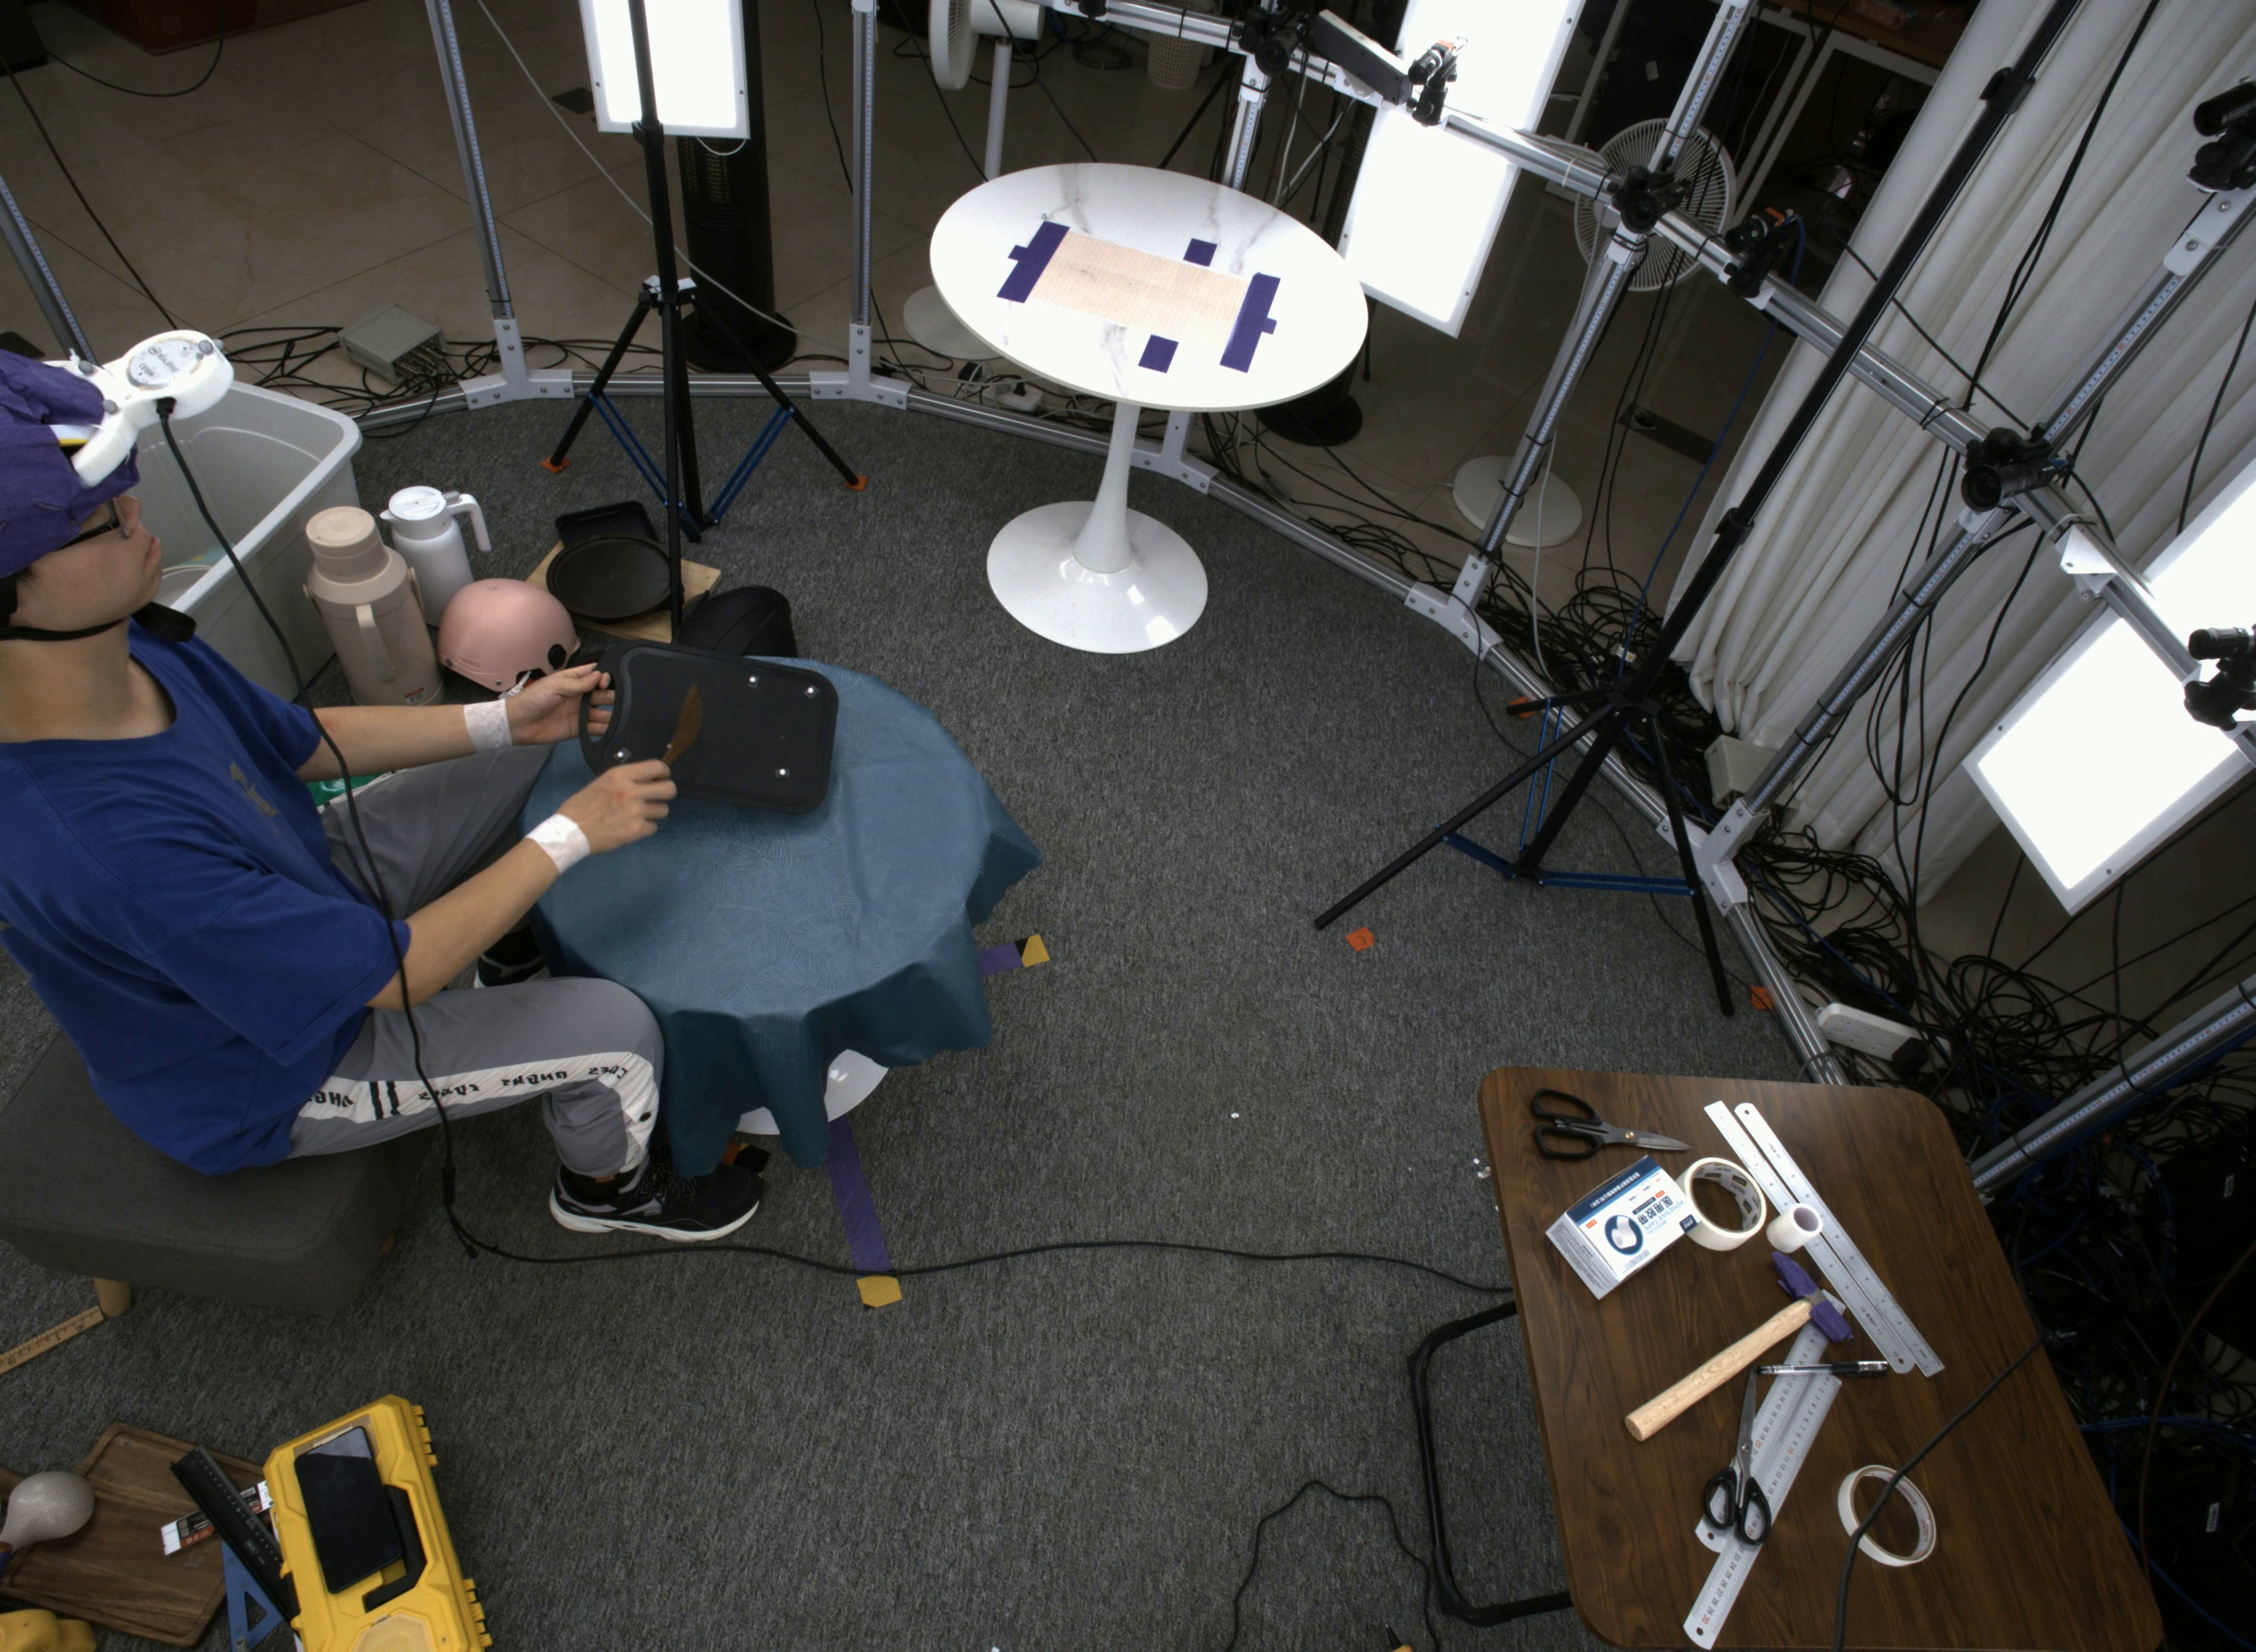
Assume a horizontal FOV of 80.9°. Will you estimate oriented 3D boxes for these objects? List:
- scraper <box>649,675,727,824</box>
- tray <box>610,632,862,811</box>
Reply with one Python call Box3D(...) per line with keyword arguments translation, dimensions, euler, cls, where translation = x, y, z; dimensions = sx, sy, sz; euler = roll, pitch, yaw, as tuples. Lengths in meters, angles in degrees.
Box3D(translation=(-0.544, -0.091, 1.592), dimensions=(0.010, 0.078, 0.209), euler=(13, 55, 7), cls="scraper")
Box3D(translation=(-0.520, -0.141, 1.701), dimensions=(0.329, 0.010, 0.210), euler=(11, 70, -20), cls="tray")
